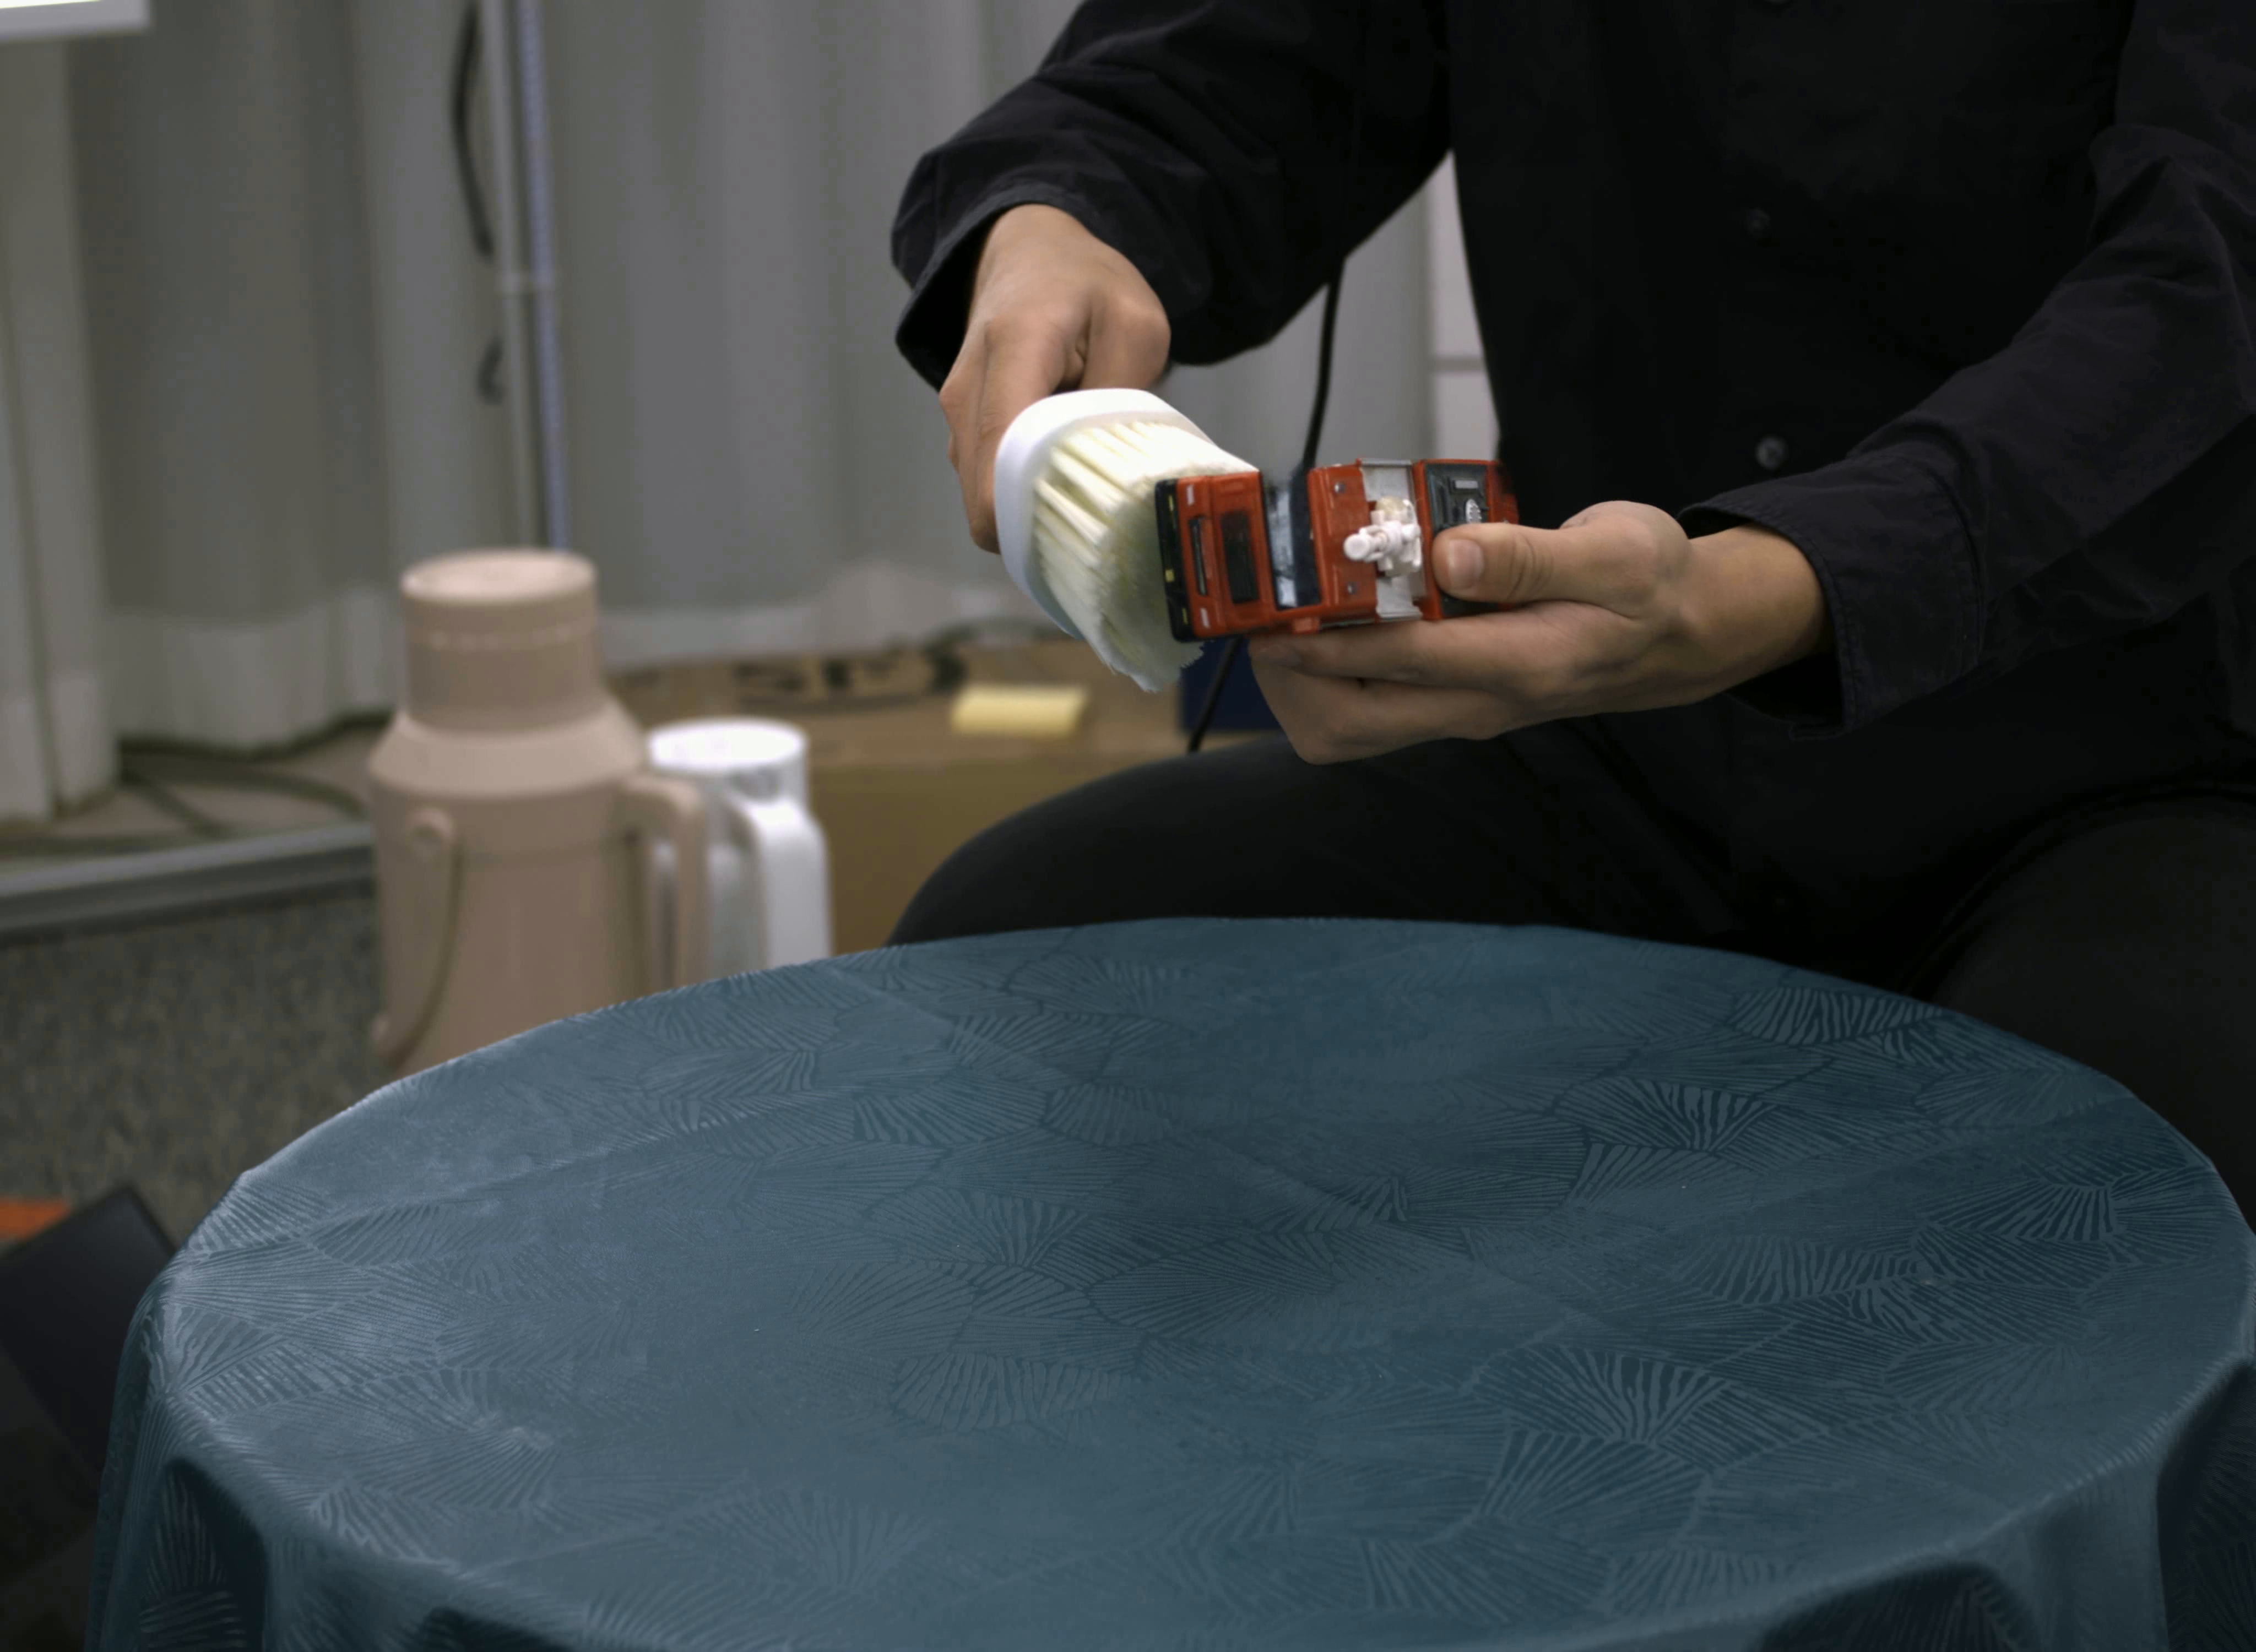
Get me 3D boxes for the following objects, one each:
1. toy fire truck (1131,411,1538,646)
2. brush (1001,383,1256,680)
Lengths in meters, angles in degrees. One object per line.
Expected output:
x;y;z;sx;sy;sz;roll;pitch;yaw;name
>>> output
0.059;-0.081;1.447;0.071;0.054;0.165;-8;0;24;toy fire truck
0.014;-0.084;1.564;0.083;0.085;0.324;-16;-2;3;brush
